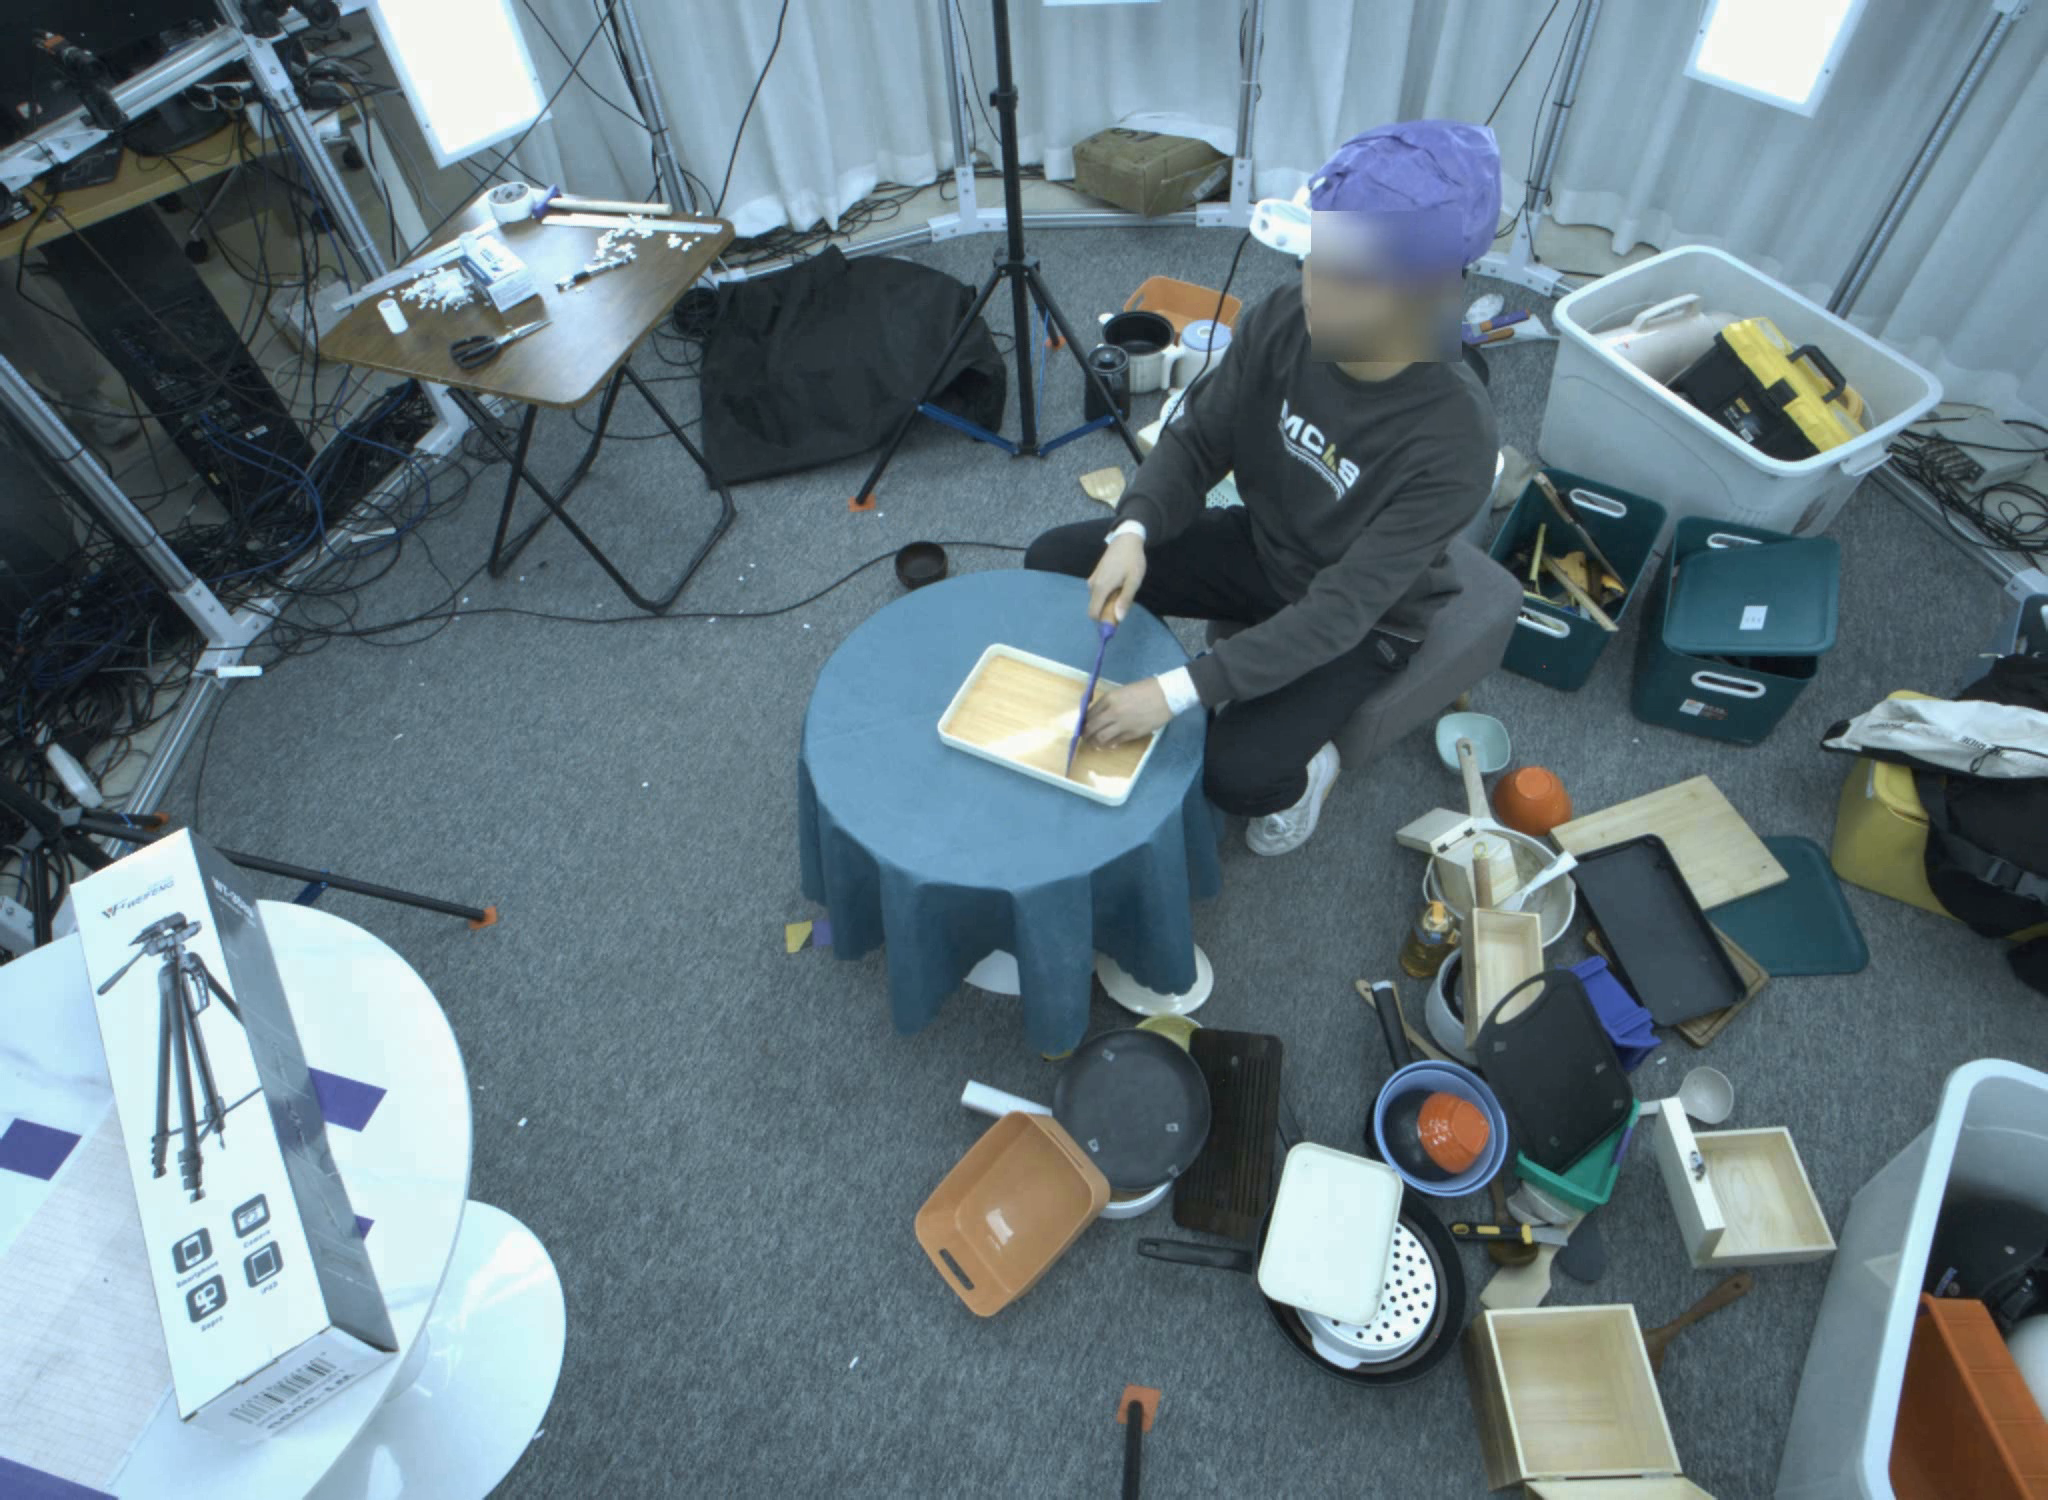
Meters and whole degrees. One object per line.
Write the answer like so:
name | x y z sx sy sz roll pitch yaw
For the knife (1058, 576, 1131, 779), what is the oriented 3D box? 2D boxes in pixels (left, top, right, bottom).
knife | 0.098 -0.107 1.784 0.032 0.104 0.314 17 62 5

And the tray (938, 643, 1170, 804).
tray | 0.044 -0.043 1.808 0.297 0.028 0.192 20 58 15
